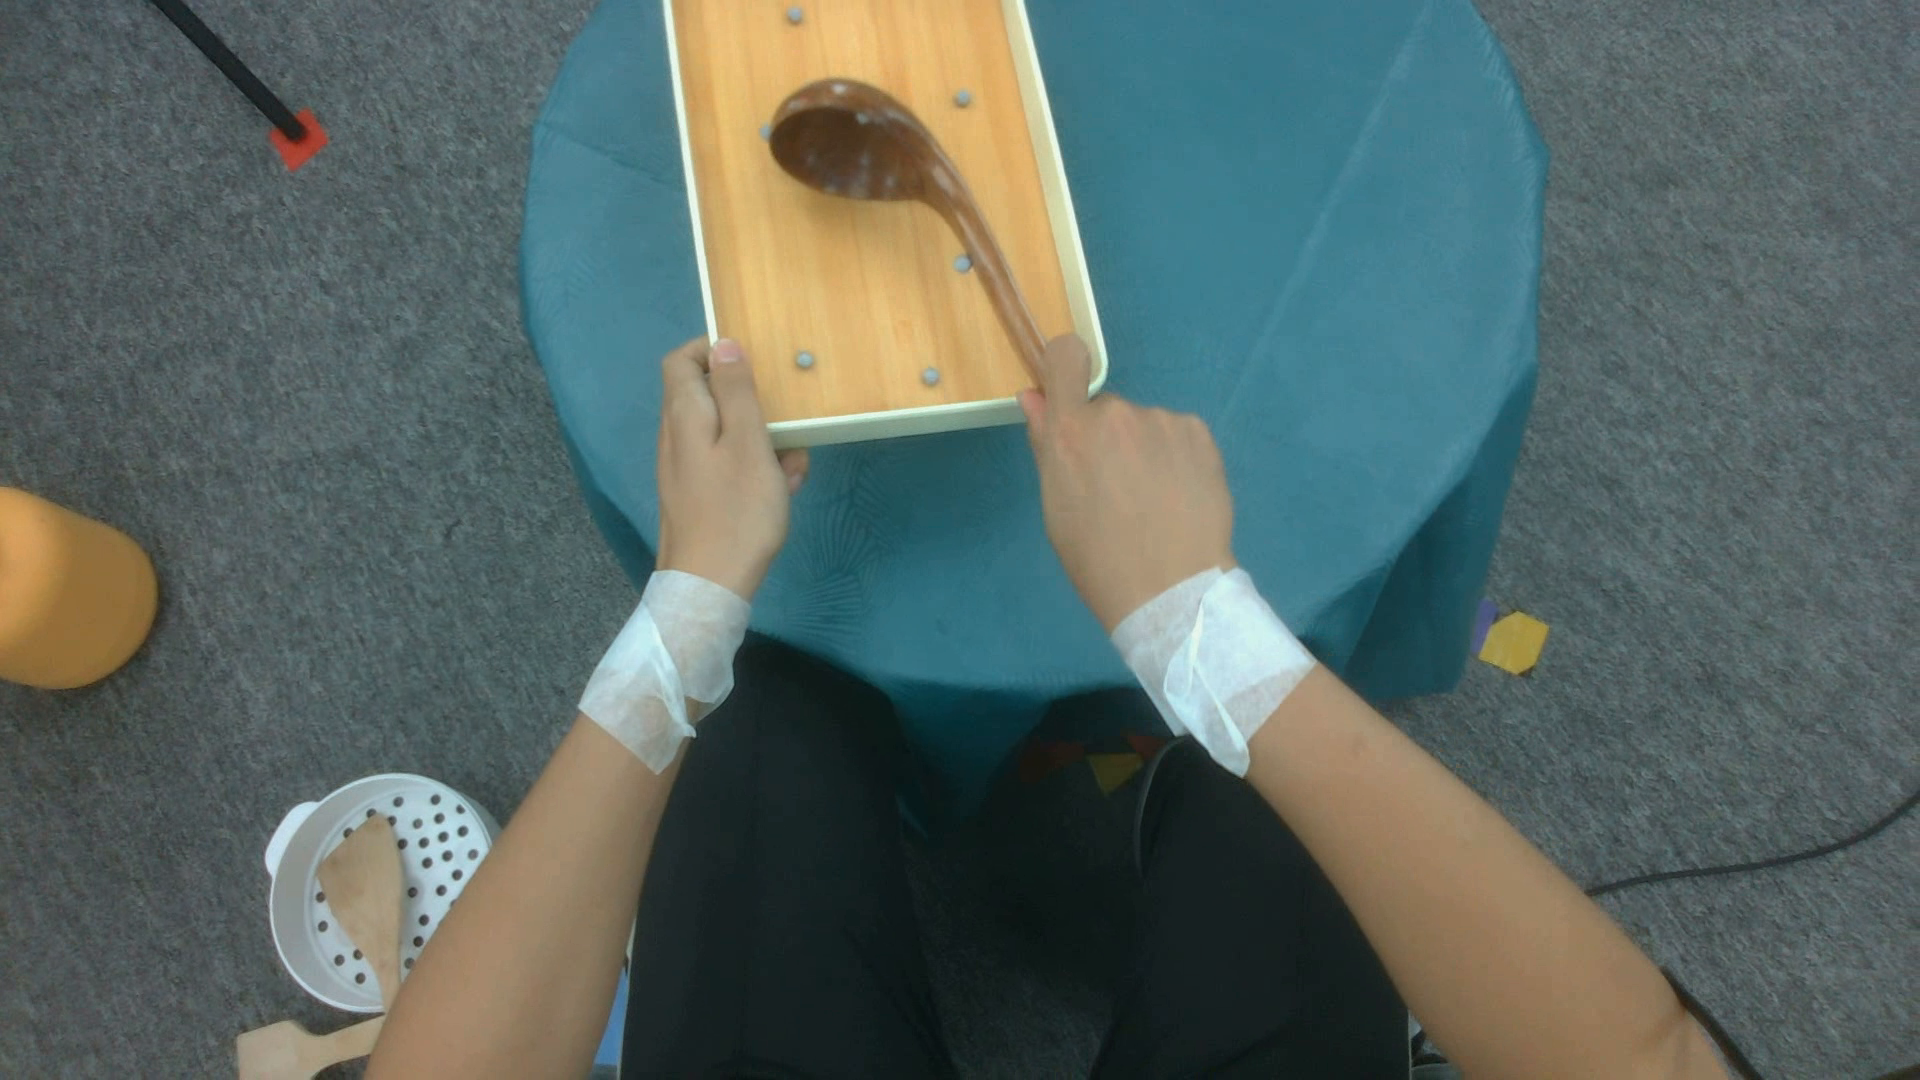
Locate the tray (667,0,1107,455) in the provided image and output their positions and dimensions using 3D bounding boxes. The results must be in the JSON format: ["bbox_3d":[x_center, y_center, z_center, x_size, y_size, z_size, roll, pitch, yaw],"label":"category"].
[{"bbox_3d":[-0.045,-0.192,0.725,0.192,0.027,0.301,-7,69,-11],"label":"tray"}]

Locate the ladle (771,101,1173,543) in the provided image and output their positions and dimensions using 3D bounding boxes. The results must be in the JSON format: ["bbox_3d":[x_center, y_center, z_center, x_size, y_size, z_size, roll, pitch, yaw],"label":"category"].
[{"bbox_3d":[-0.002,-0.100,0.656,0.076,0.082,0.274,-30,75,2],"label":"ladle"}]
